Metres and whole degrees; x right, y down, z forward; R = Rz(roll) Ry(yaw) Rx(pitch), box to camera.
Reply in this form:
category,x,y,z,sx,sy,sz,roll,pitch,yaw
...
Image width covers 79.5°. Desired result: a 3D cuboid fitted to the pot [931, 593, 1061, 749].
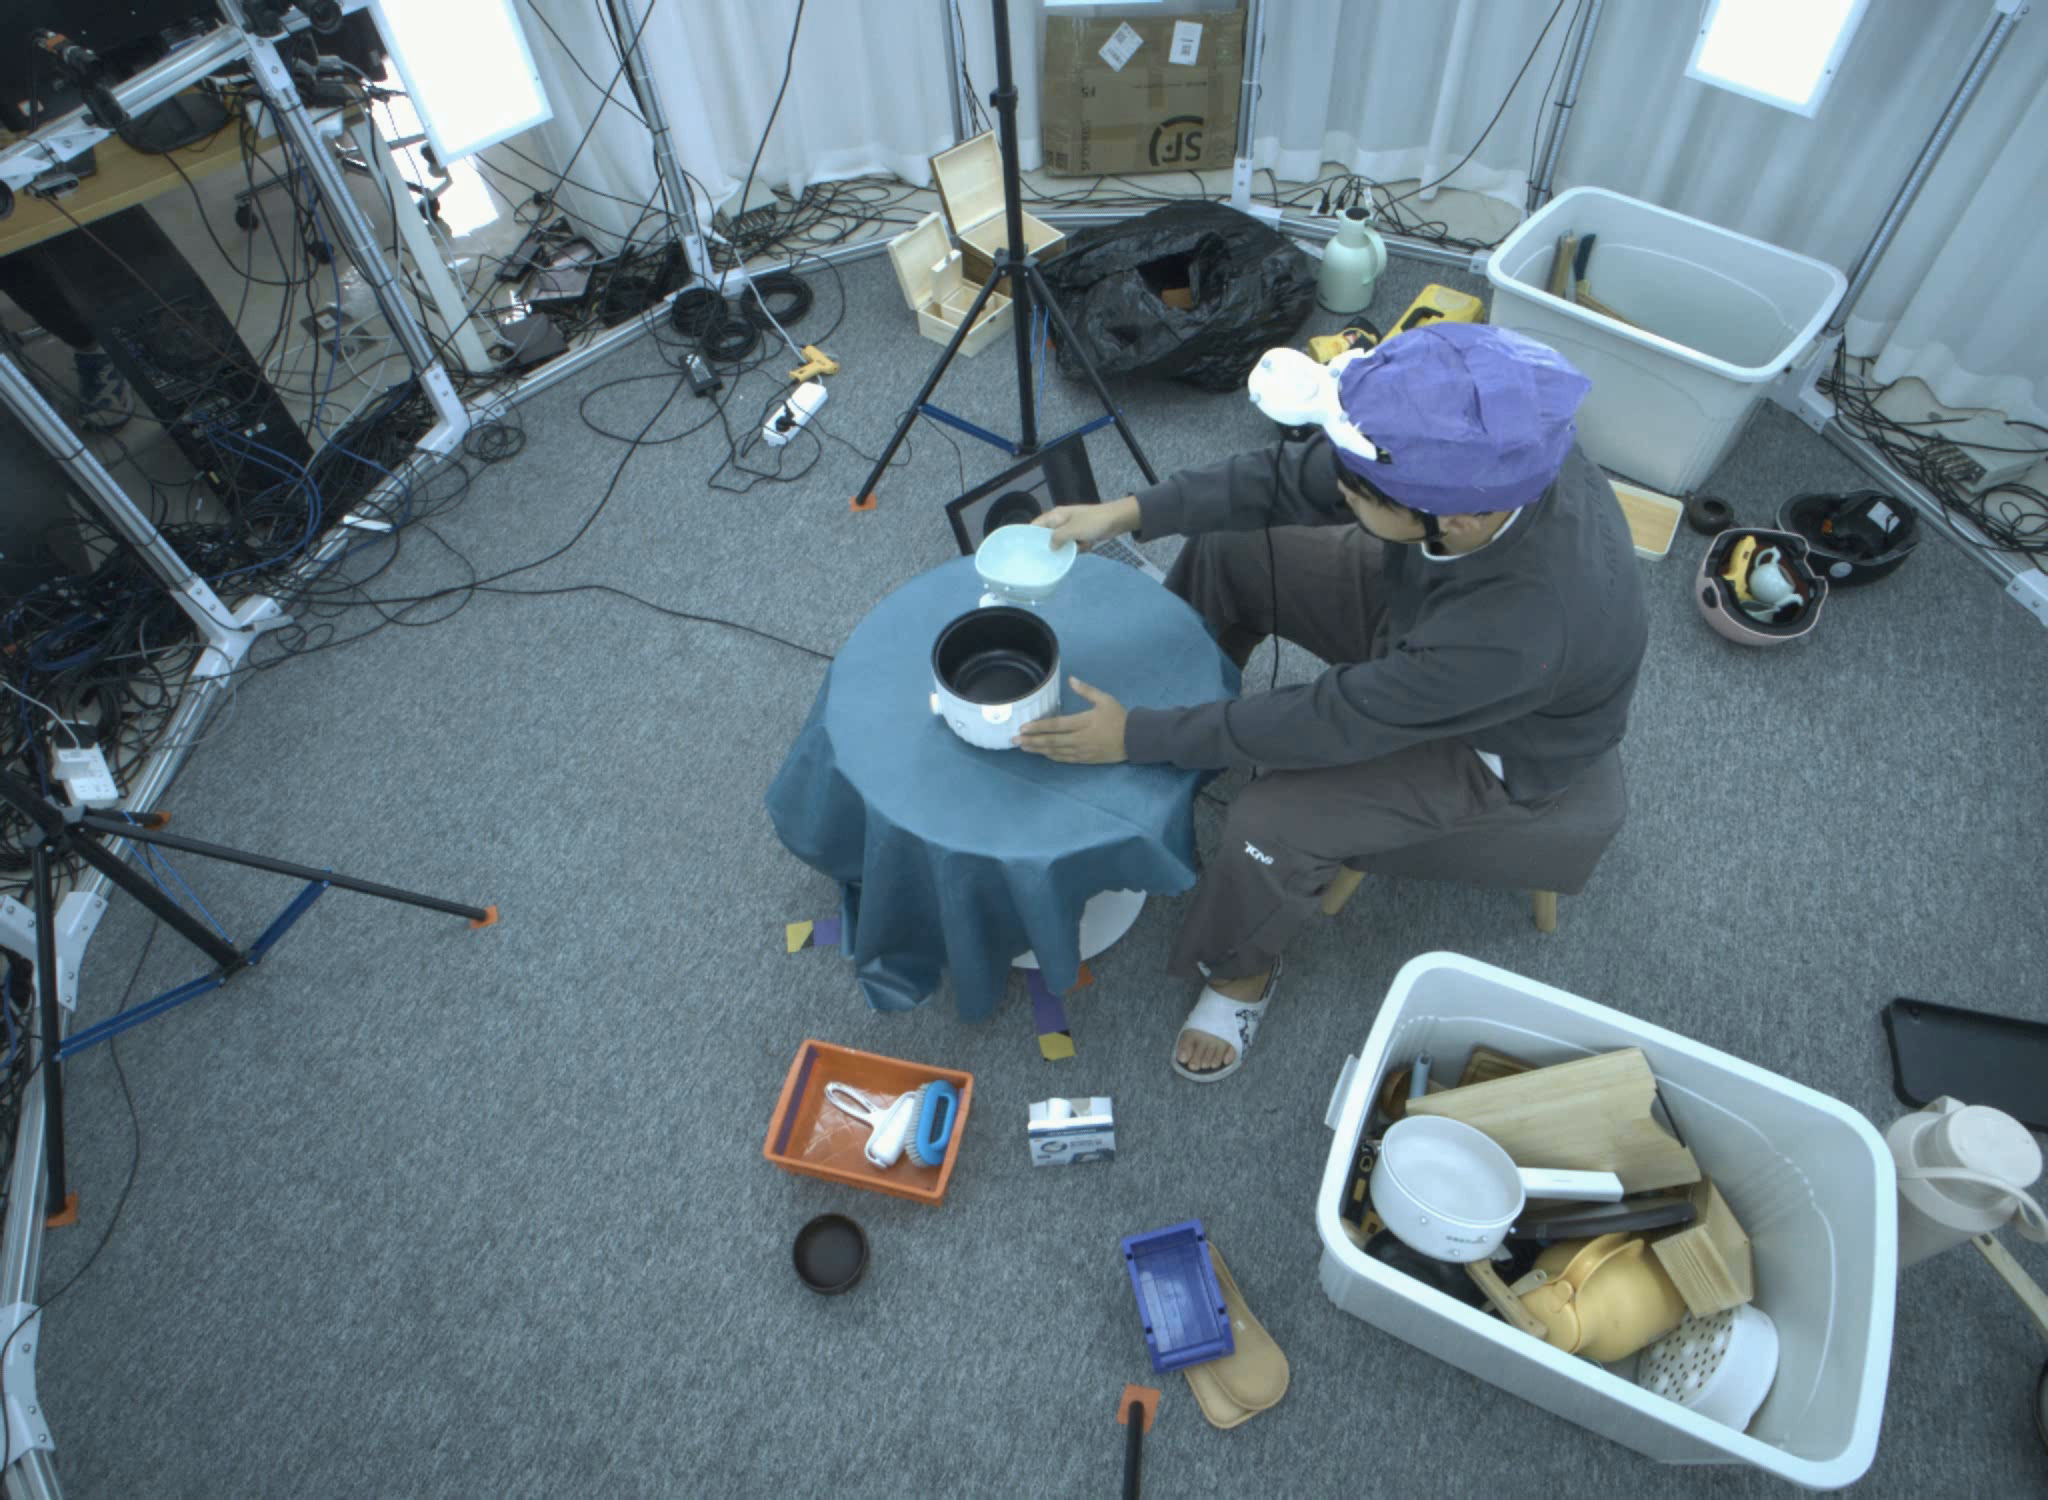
category,x,y,z,sx,sy,sz,roll,pitch,yaw
pot,-0.042,-0.095,1.769,0.191,0.144,0.237,-3,53,-4

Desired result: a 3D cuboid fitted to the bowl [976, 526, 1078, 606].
category,x,y,z,sx,sy,sz,roll,pitch,yaw
bowl,0.005,-0.255,1.752,0.151,0.059,0.150,0,47,1
